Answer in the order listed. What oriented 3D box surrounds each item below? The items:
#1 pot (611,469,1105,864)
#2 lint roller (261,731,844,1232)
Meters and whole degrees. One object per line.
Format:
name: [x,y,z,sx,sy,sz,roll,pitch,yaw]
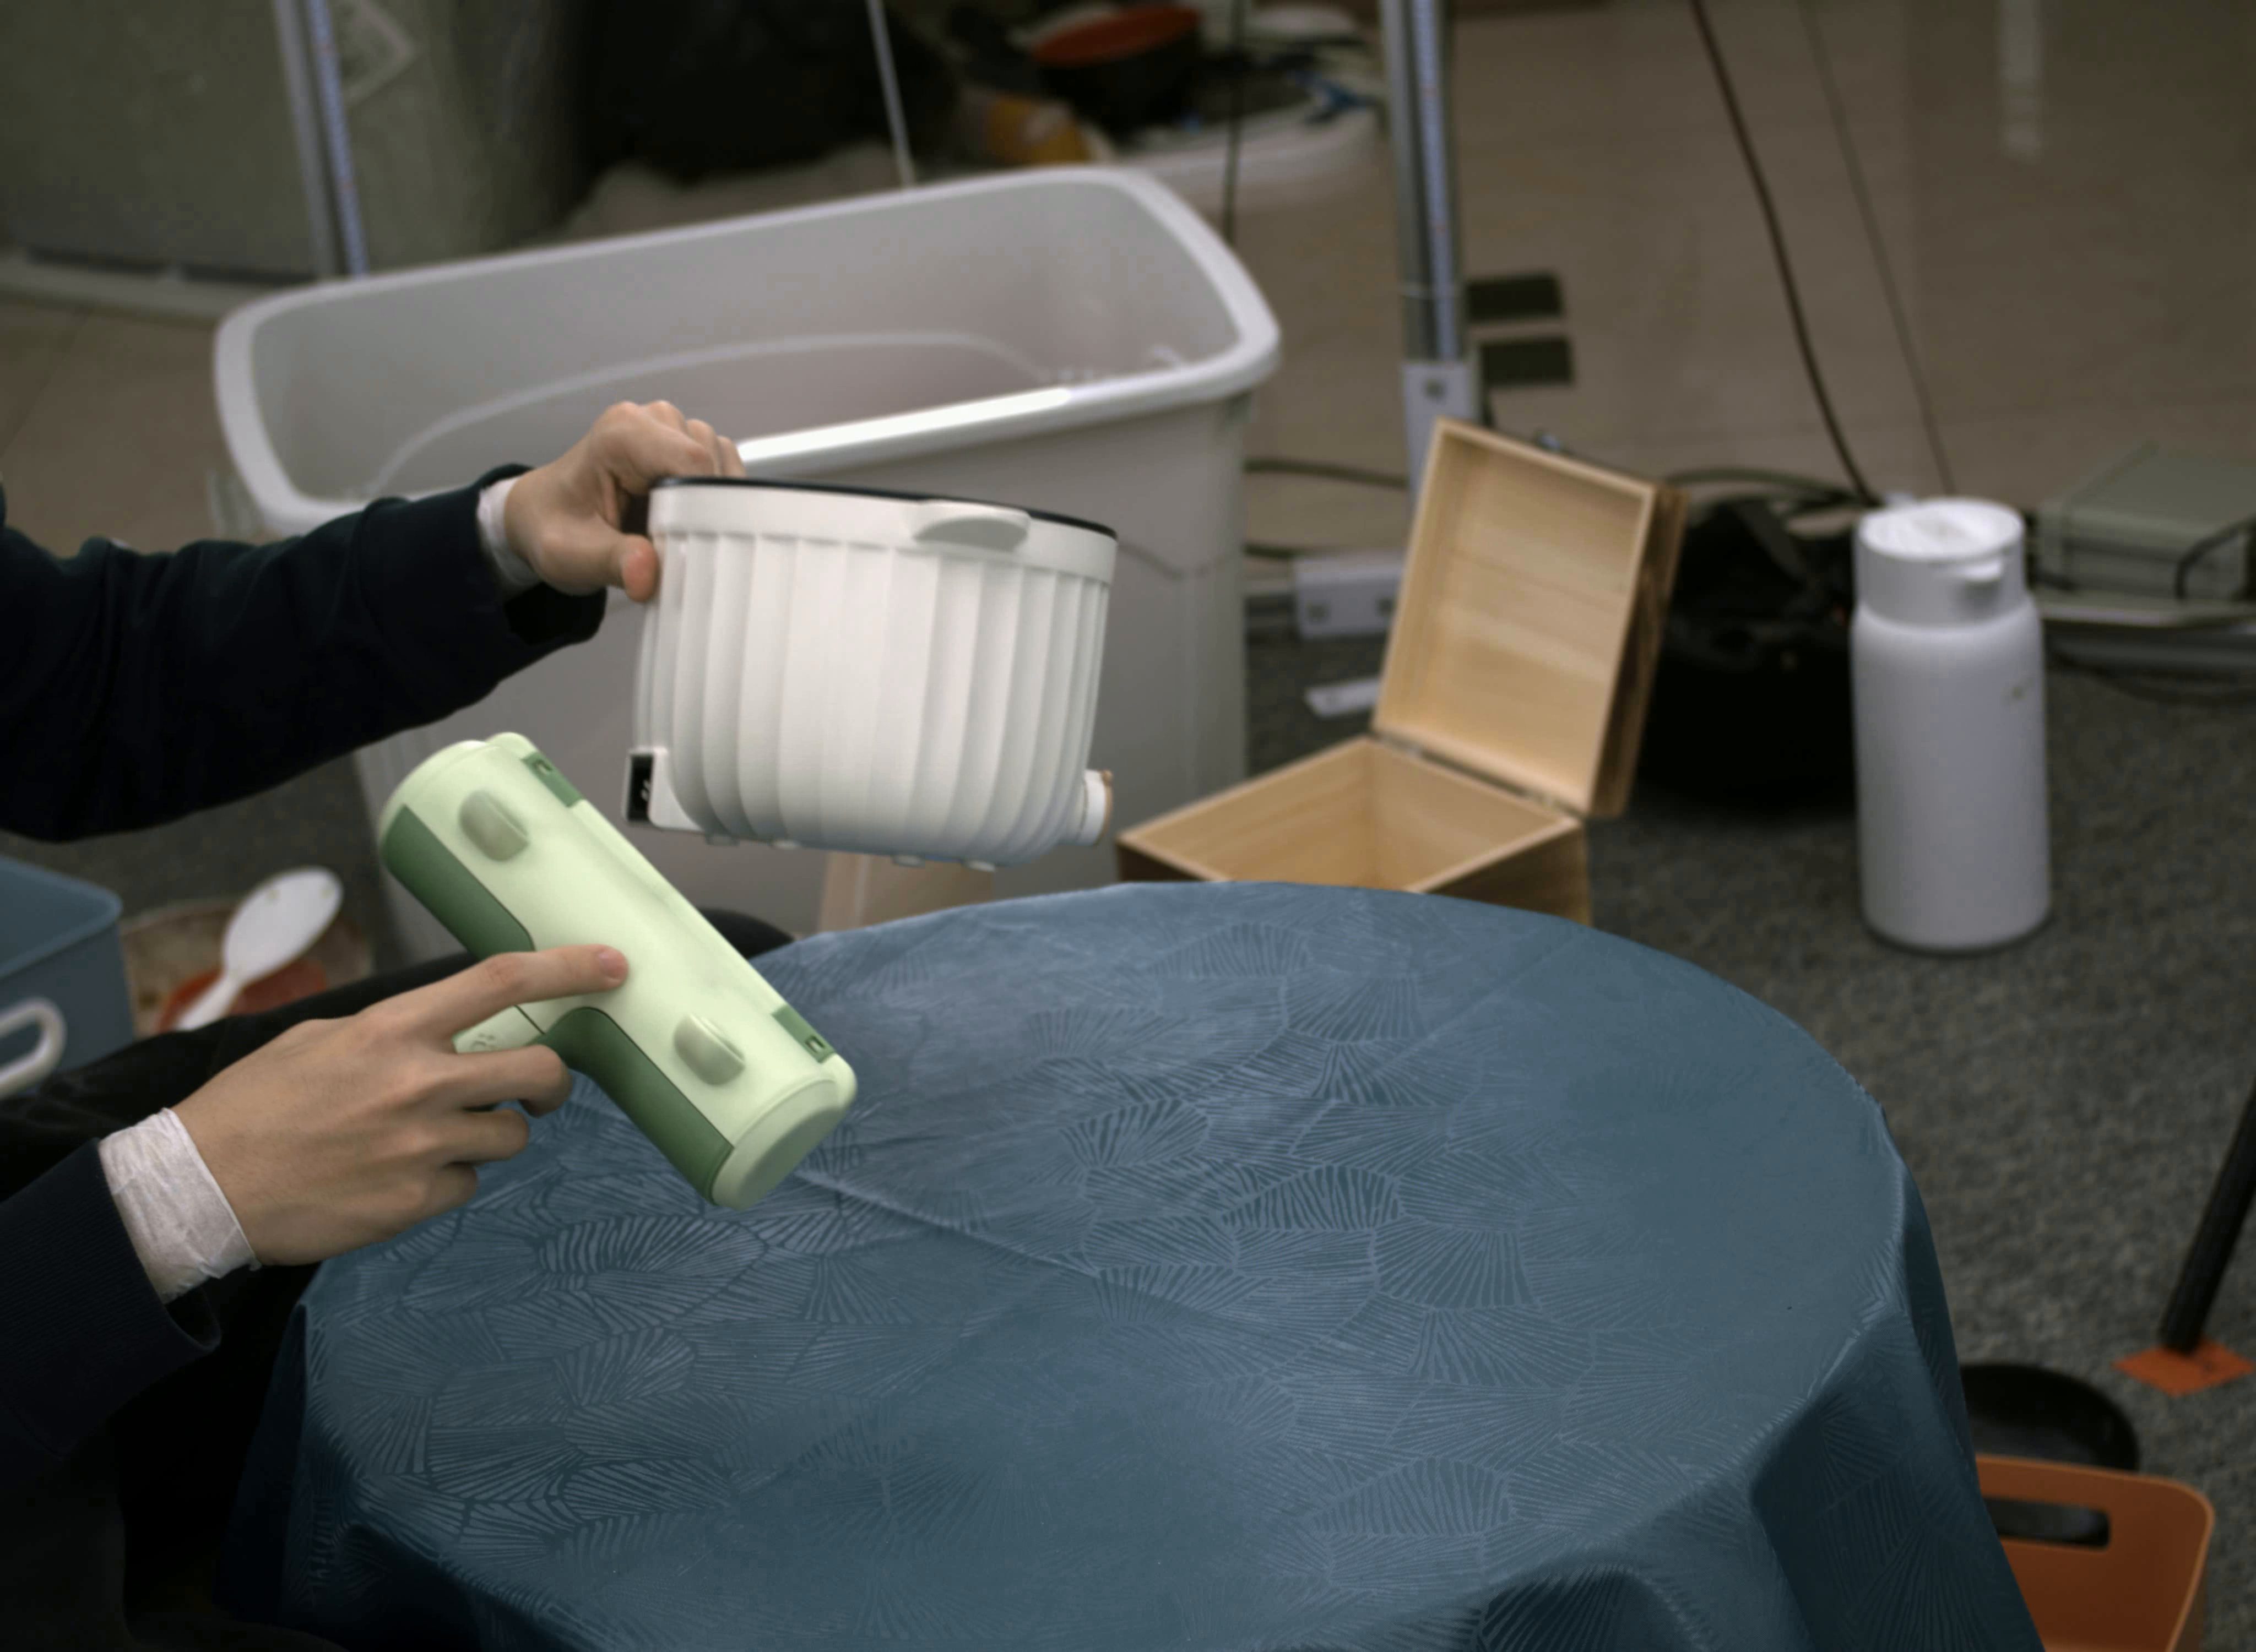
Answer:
pot: [-0.100,-0.058,2.175,0.190,0.143,0.240,4,0,-23]
lint roller: [-0.226,0.073,1.972,0.181,0.083,0.197,-36,72,-31]
